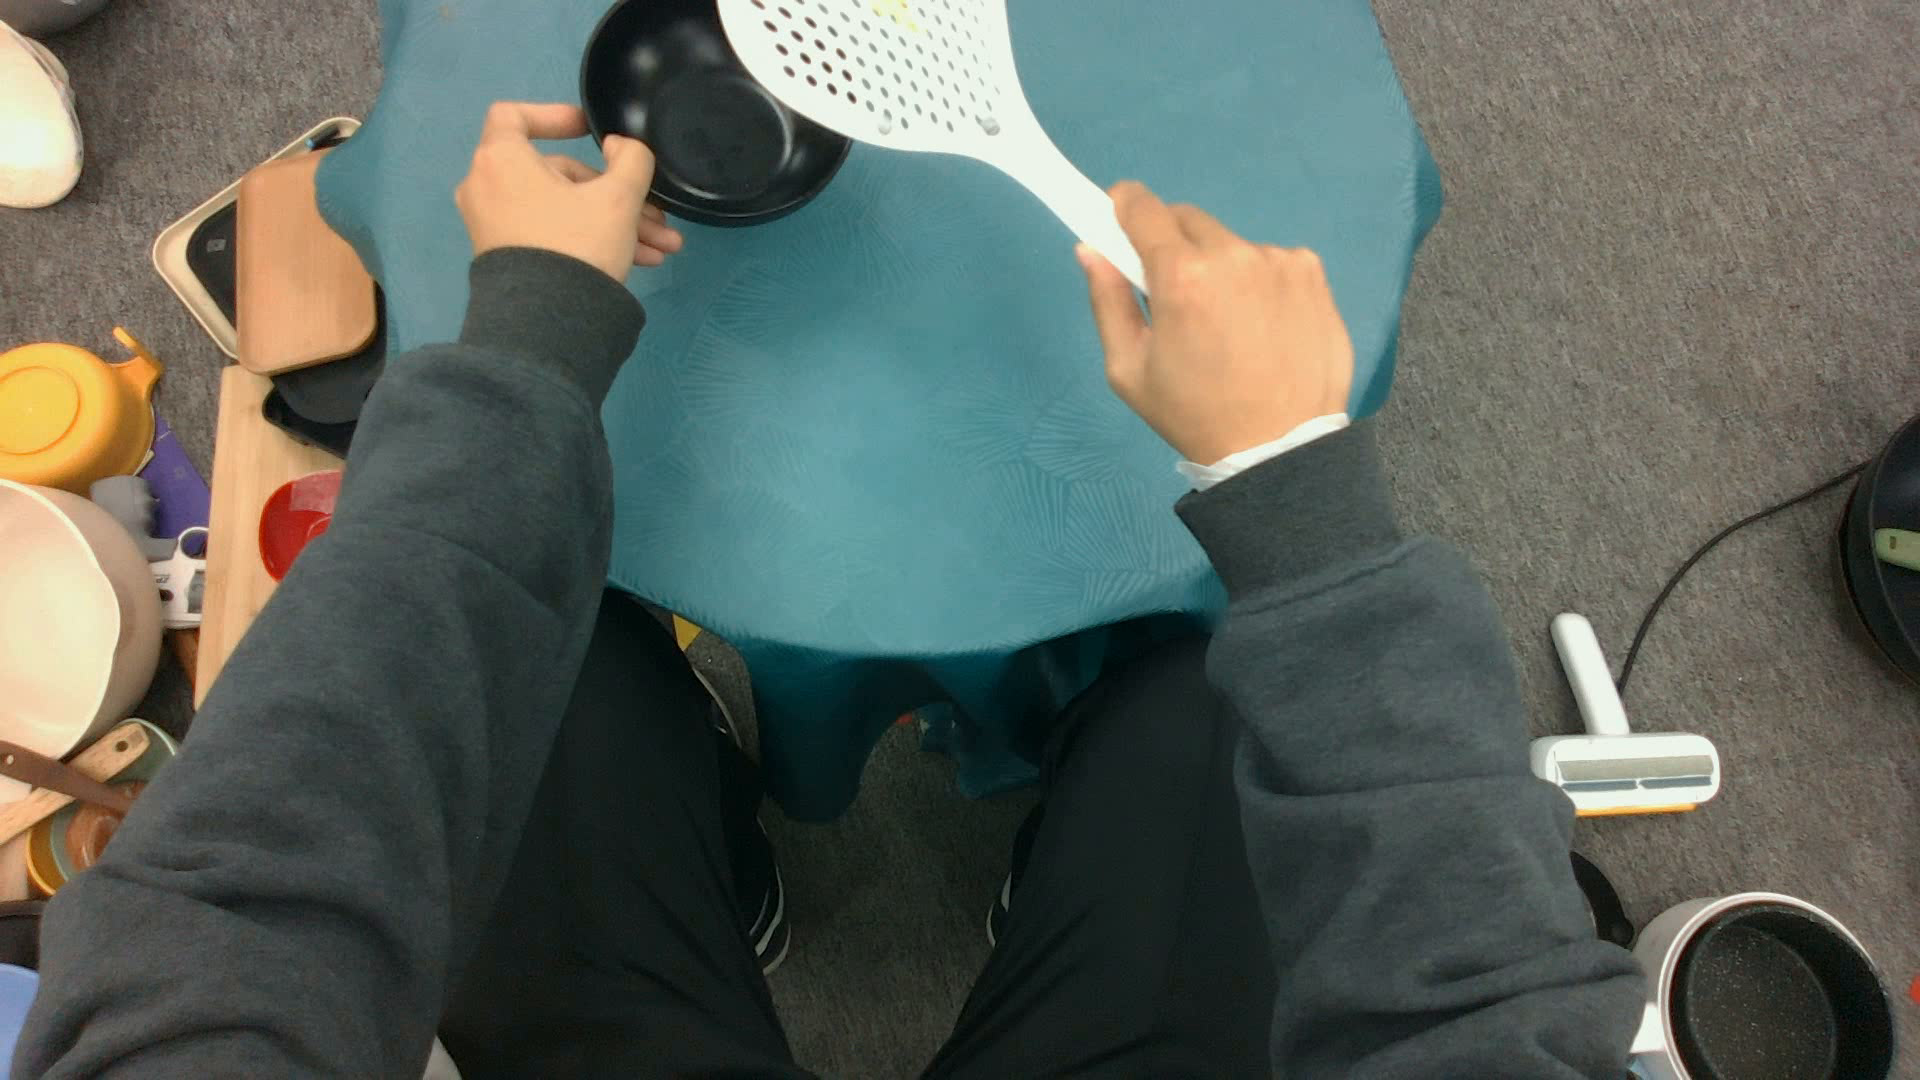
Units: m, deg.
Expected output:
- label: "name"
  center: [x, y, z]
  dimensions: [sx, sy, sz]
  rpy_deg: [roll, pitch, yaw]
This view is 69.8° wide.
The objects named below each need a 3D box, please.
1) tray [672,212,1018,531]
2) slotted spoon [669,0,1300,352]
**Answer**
- label: "tray"
  center: [-0.111, -0.166, 1.340]
  dimensions: [0.300, 0.027, 0.192]
  rpy_deg: [40, 76, 7]
- label: "slotted spoon"
  center: [0.005, -0.189, 0.614]
  dimensions: [0.348, 0.050, 0.136]
  rpy_deg: [45, 121, 16]
